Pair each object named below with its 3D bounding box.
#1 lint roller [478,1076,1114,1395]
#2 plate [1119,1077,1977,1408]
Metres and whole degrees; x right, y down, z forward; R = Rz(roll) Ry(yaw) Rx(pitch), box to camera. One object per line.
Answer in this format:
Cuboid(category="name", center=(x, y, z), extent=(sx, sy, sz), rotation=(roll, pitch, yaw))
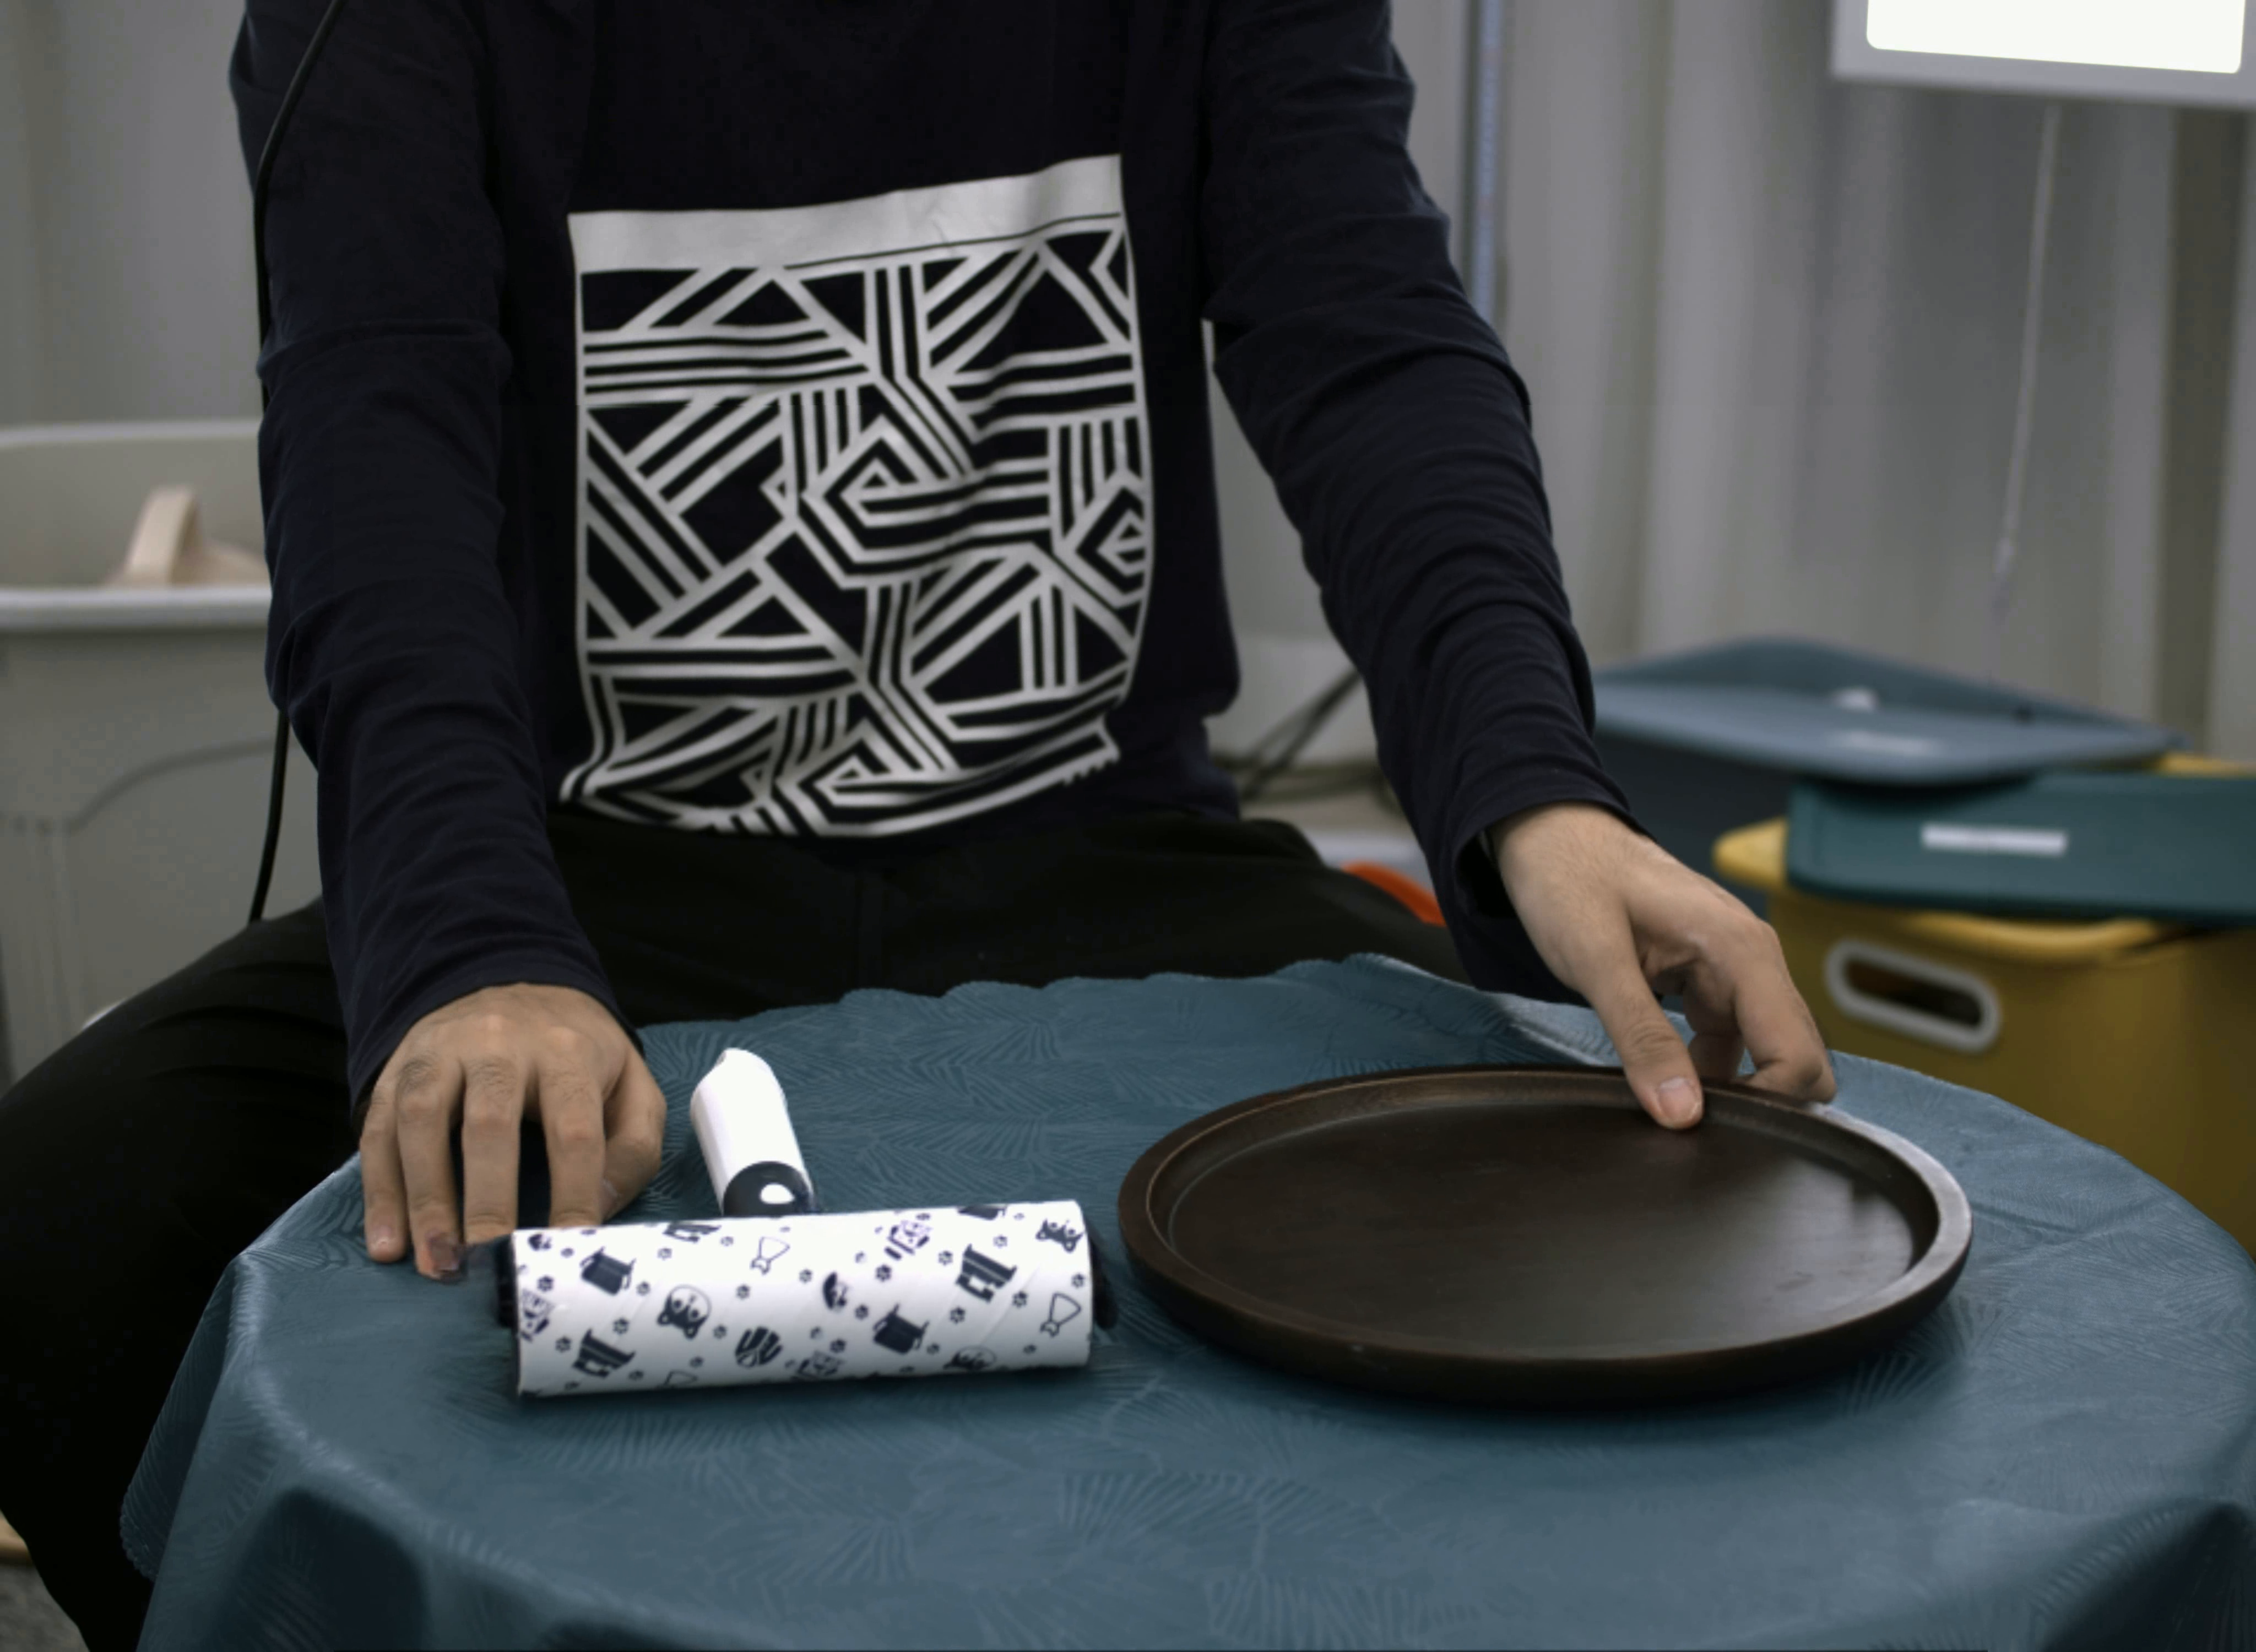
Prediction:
Cuboid(category="lint roller", center=(-0.110, 0.108, 1.560), extent=(0.176, 0.051, 0.245), rotation=(-3, 14, -10))
Cuboid(category="plate", center=(0.123, 0.120, 1.556), extent=(0.254, 0.029, 0.253), rotation=(0, 14, 1))
